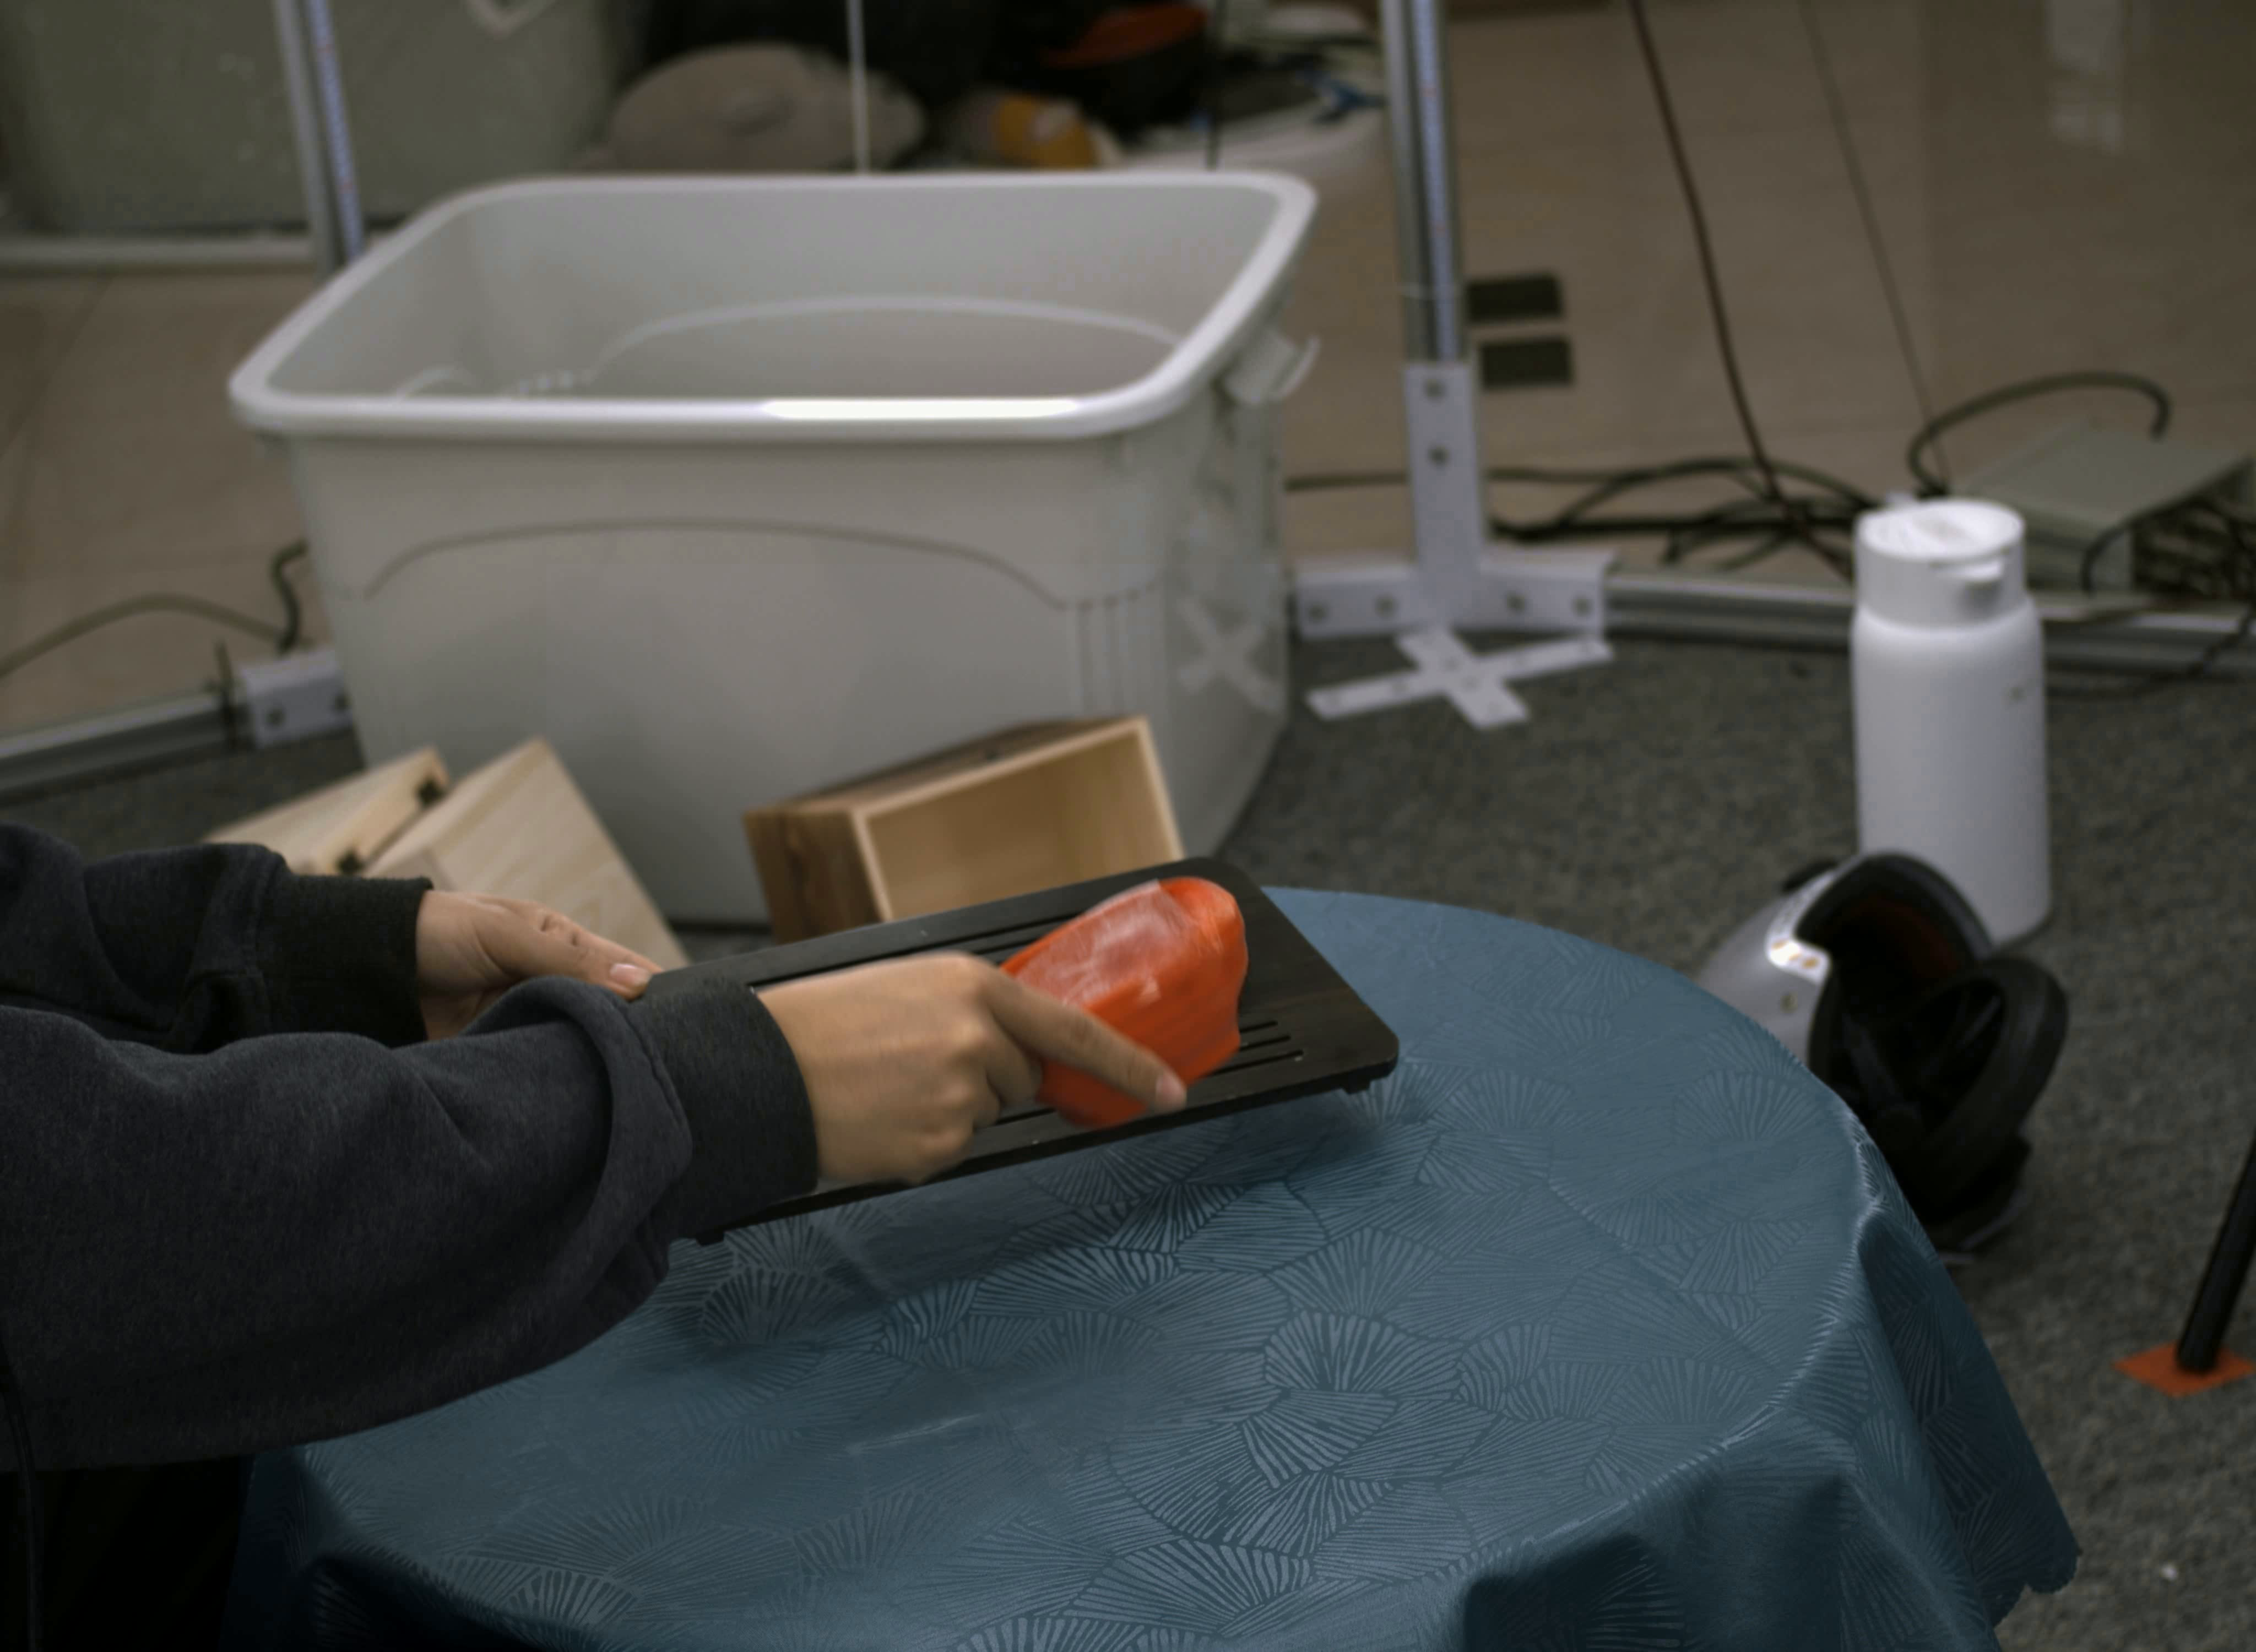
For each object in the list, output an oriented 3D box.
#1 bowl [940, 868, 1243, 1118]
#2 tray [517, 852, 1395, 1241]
[{"bbox_3d":[-0.005,0.064,2.010,0.119,0.052,0.117,-26,14,7],"label":"bowl"},{"bbox_3d":[-0.066,0.083,2.166,0.305,0.019,0.167,-12,33,-21],"label":"tray"}]
